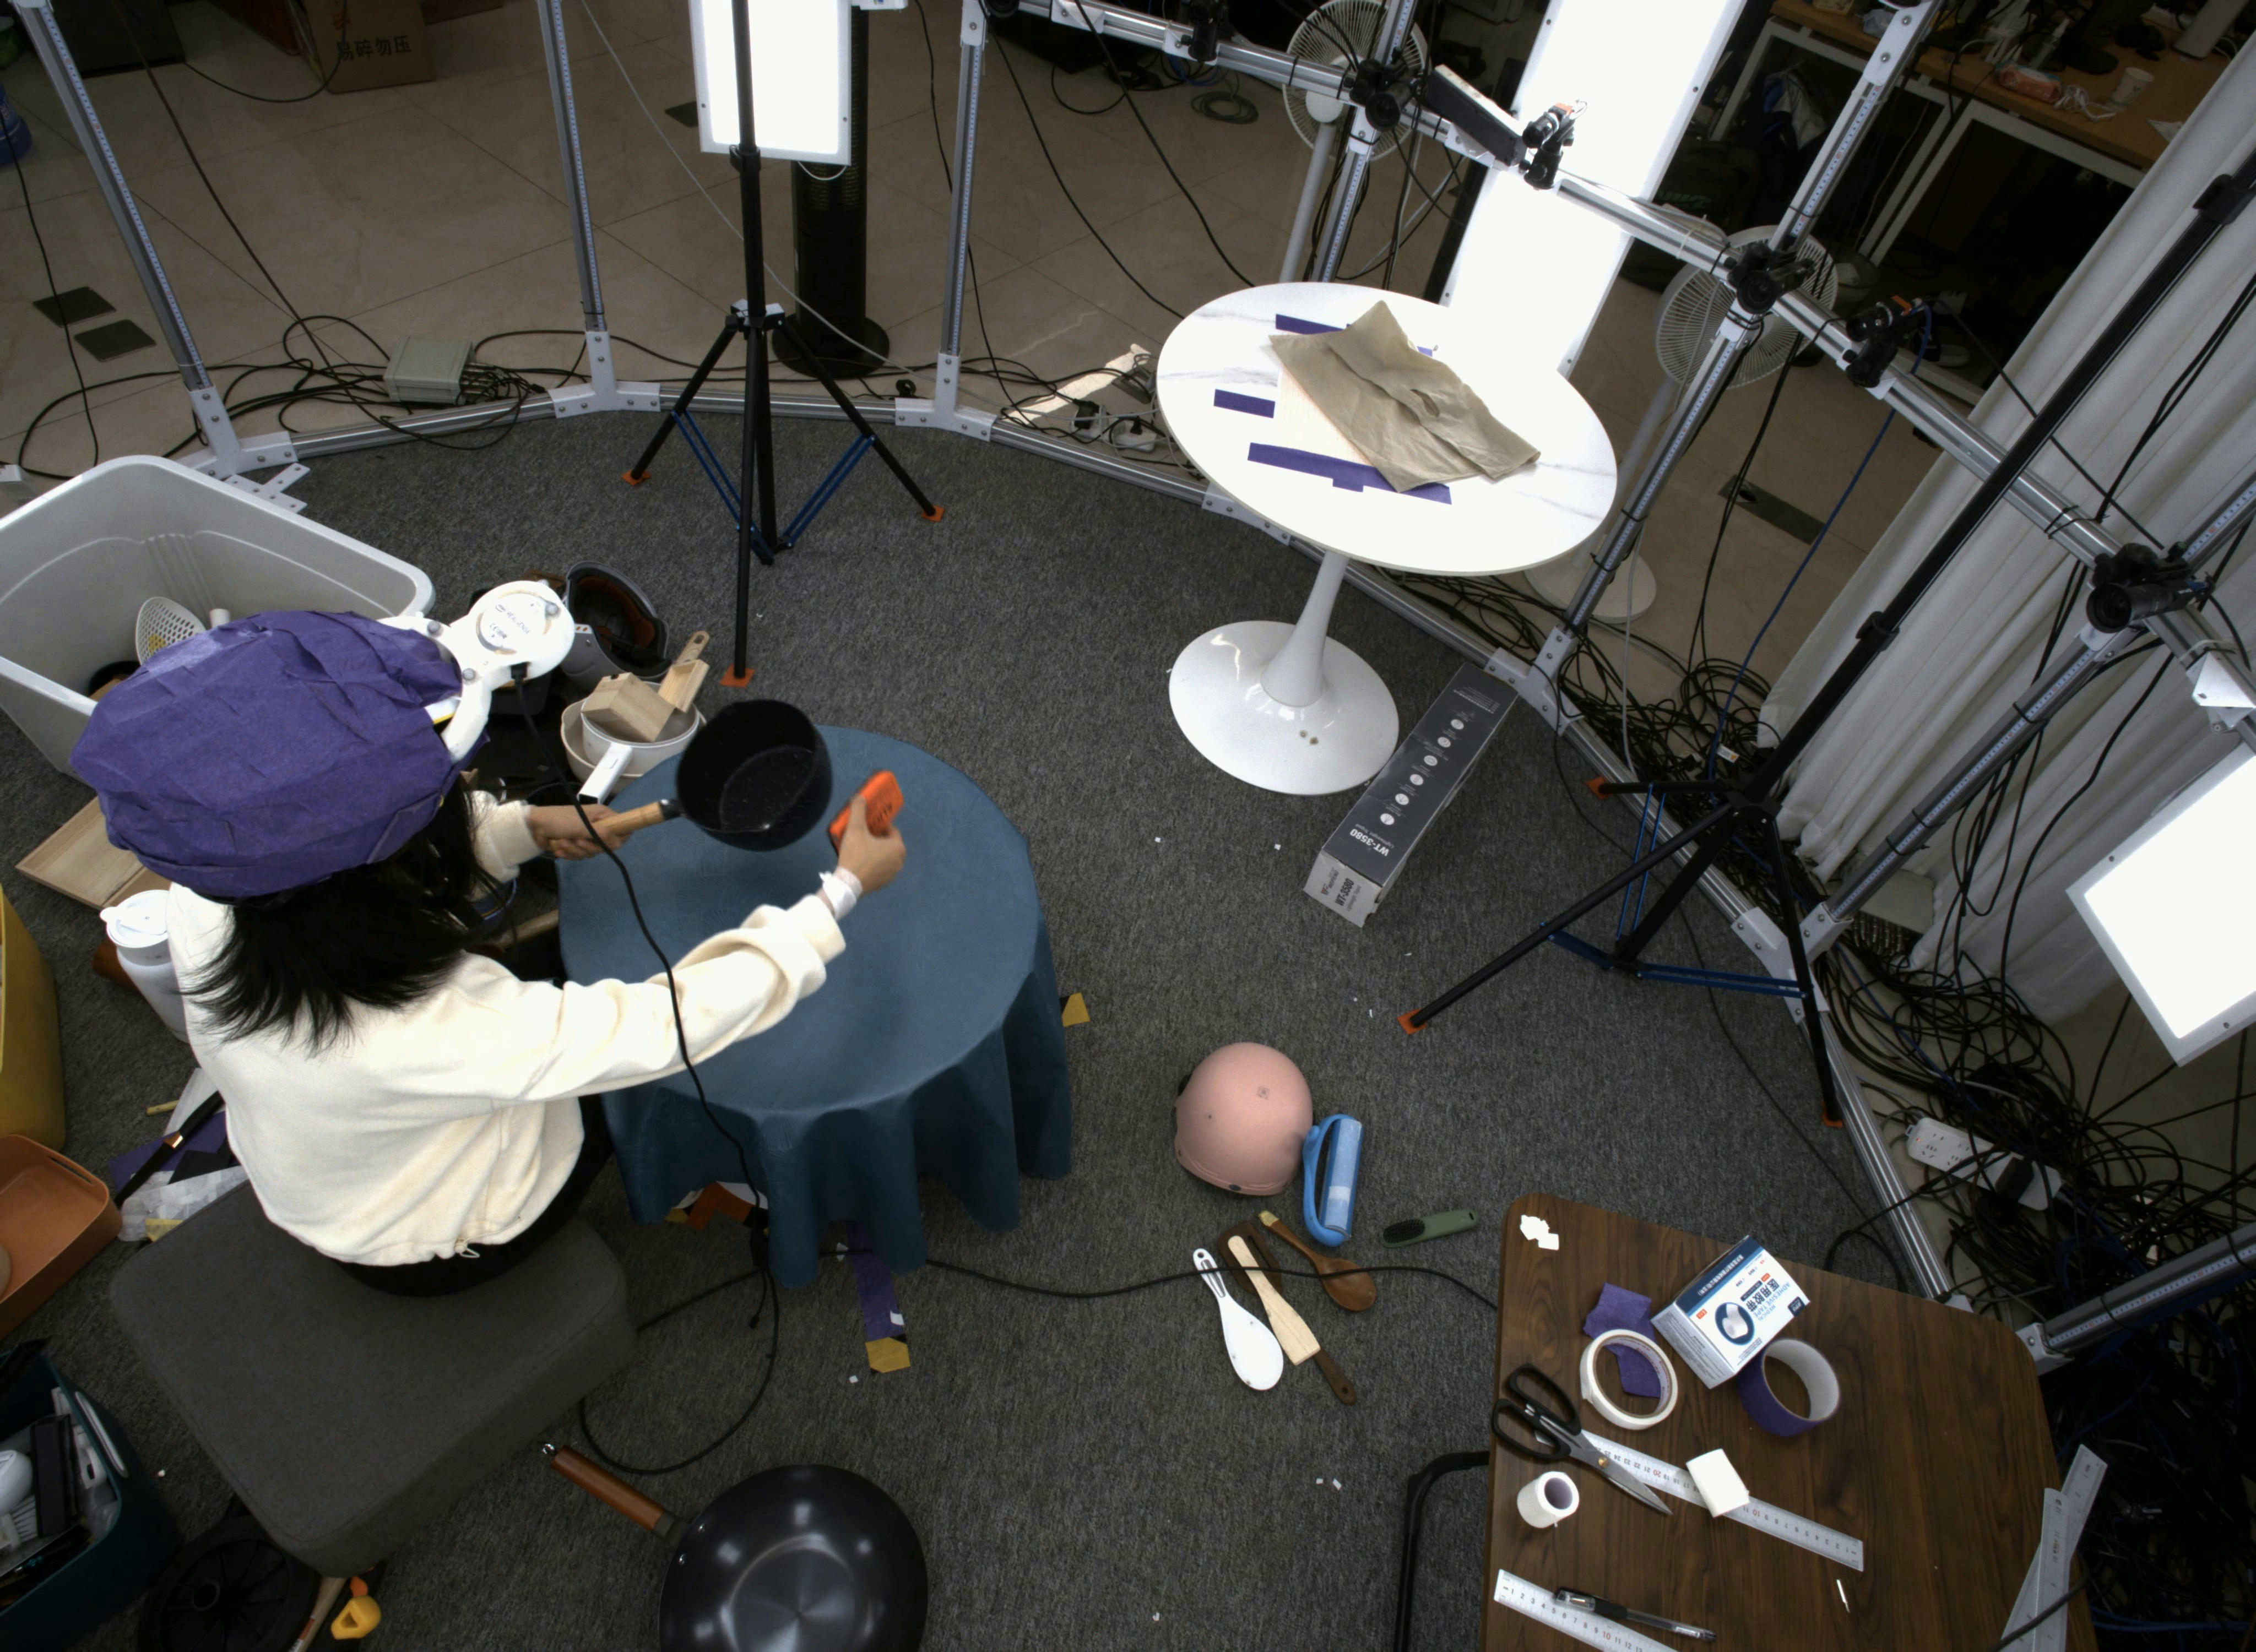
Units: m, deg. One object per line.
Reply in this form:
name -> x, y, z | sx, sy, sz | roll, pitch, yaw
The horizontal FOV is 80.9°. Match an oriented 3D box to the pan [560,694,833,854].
pan -> -0.515, -0.027, 1.543 | 0.341, 0.111, 0.202 | -26, 61, -6

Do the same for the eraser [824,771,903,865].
eraser -> -0.305, -0.011, 1.505 | 0.022, 0.061, 0.107 | 18, 52, 25
